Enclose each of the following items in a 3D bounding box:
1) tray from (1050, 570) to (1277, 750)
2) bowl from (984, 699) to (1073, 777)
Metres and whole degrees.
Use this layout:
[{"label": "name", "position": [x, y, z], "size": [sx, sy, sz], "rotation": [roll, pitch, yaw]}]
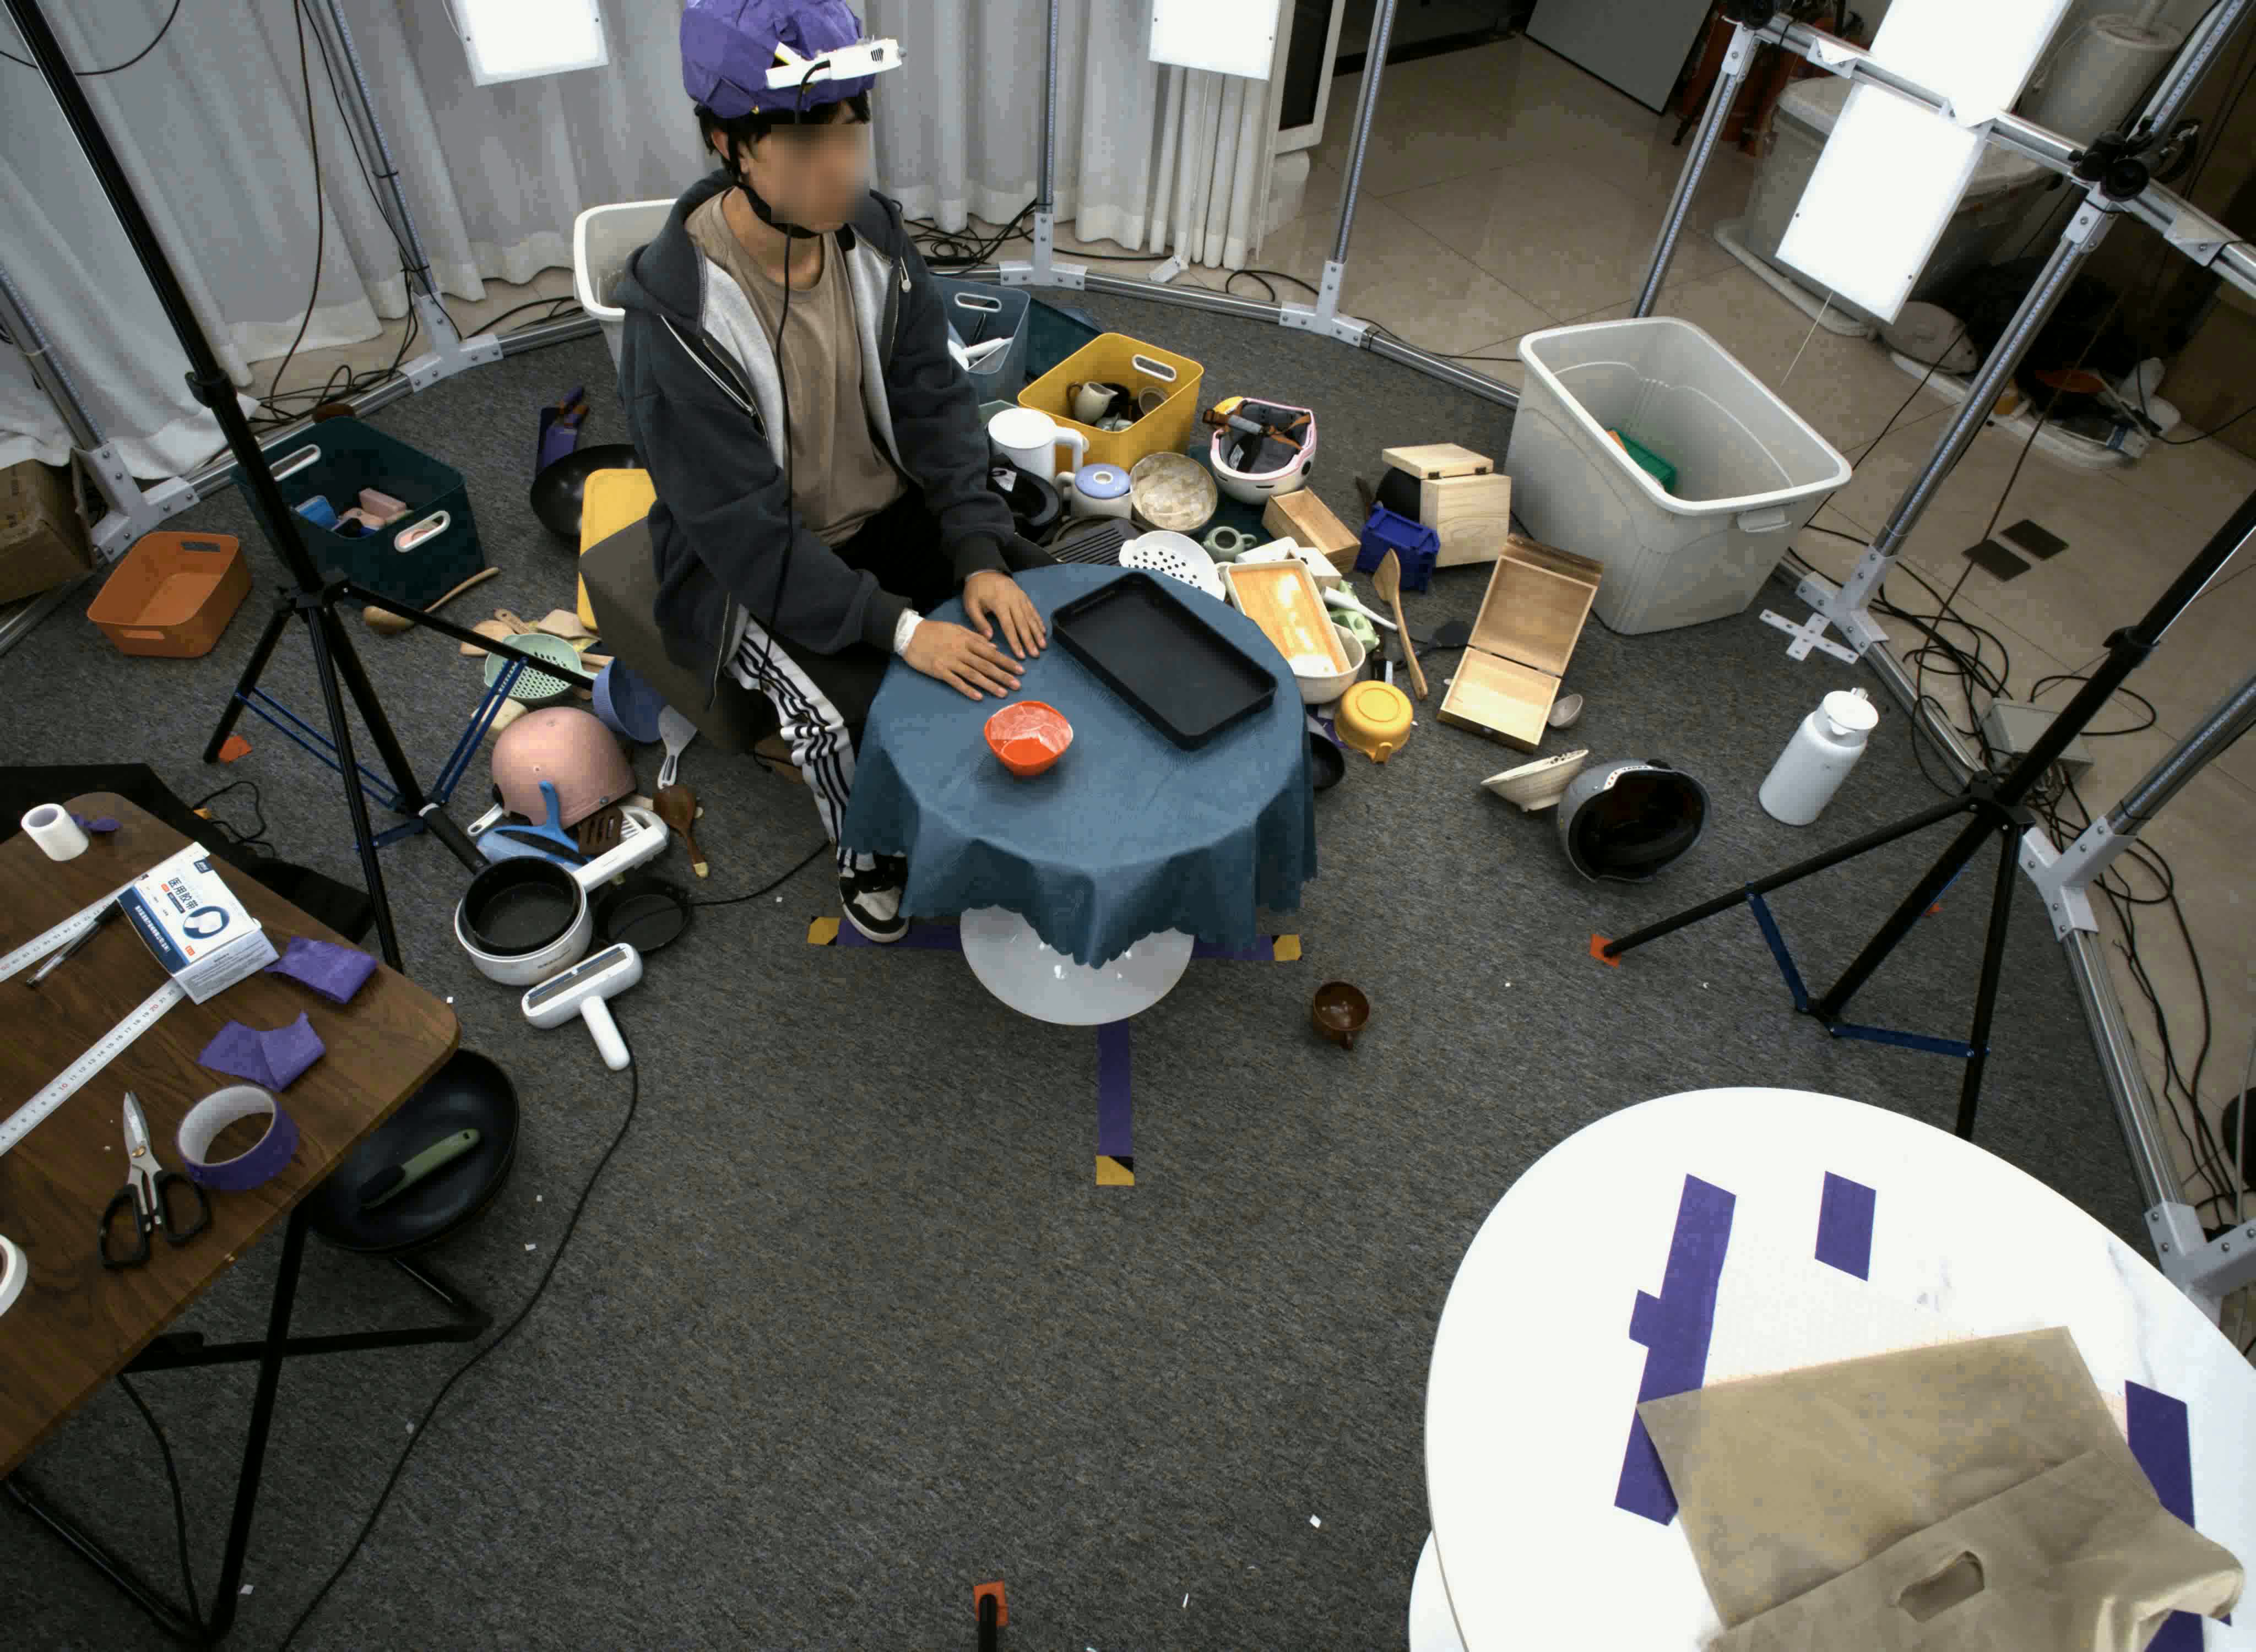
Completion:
[{"label": "tray", "position": [0.048, -0.246, 1.859], "size": [0.185, 0.036, 0.323], "rotation": [-31, 58, -27]}, {"label": "bowl", "position": [-0.133, -0.111, 1.718], "size": [0.119, 0.050, 0.122], "rotation": [2, 50, -3]}]
